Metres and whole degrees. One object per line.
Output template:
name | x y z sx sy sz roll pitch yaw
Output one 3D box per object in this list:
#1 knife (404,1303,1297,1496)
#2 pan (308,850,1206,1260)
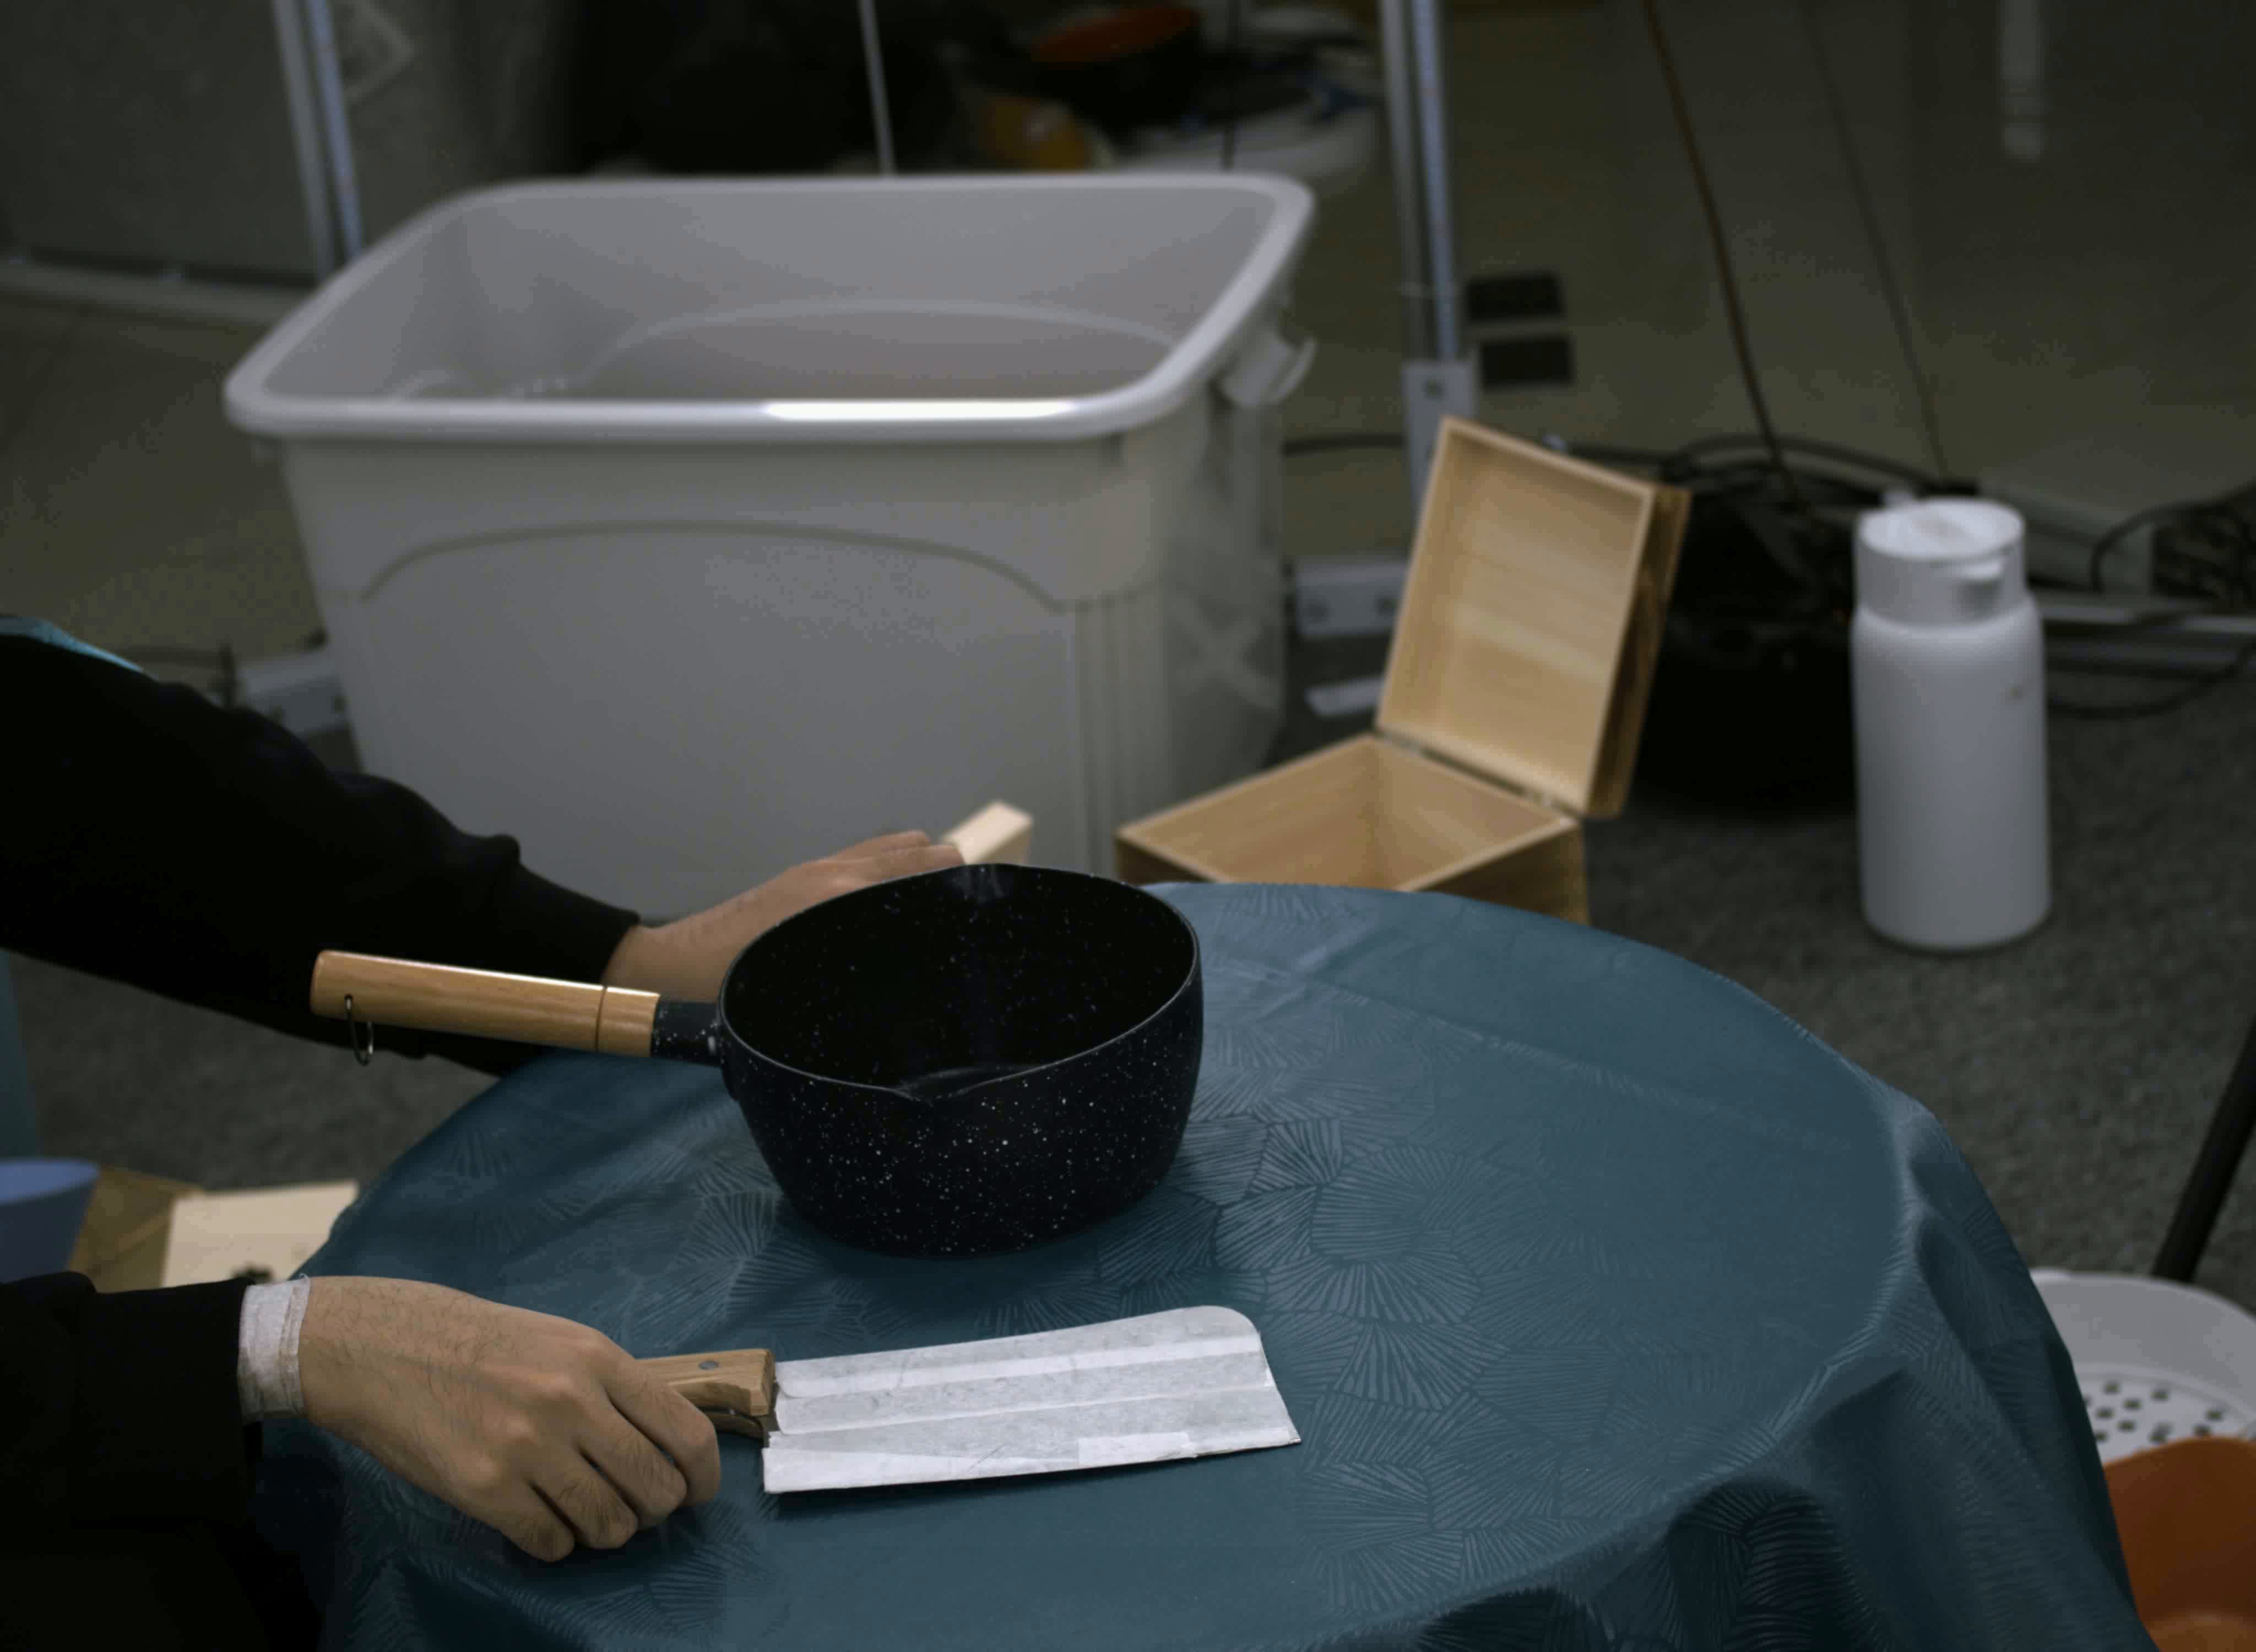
knife | -0.099 0.205 2.008 0.315 0.022 0.112 -4 25 0
pan | -0.140 0.088 2.160 0.342 0.110 0.204 -4 26 4
